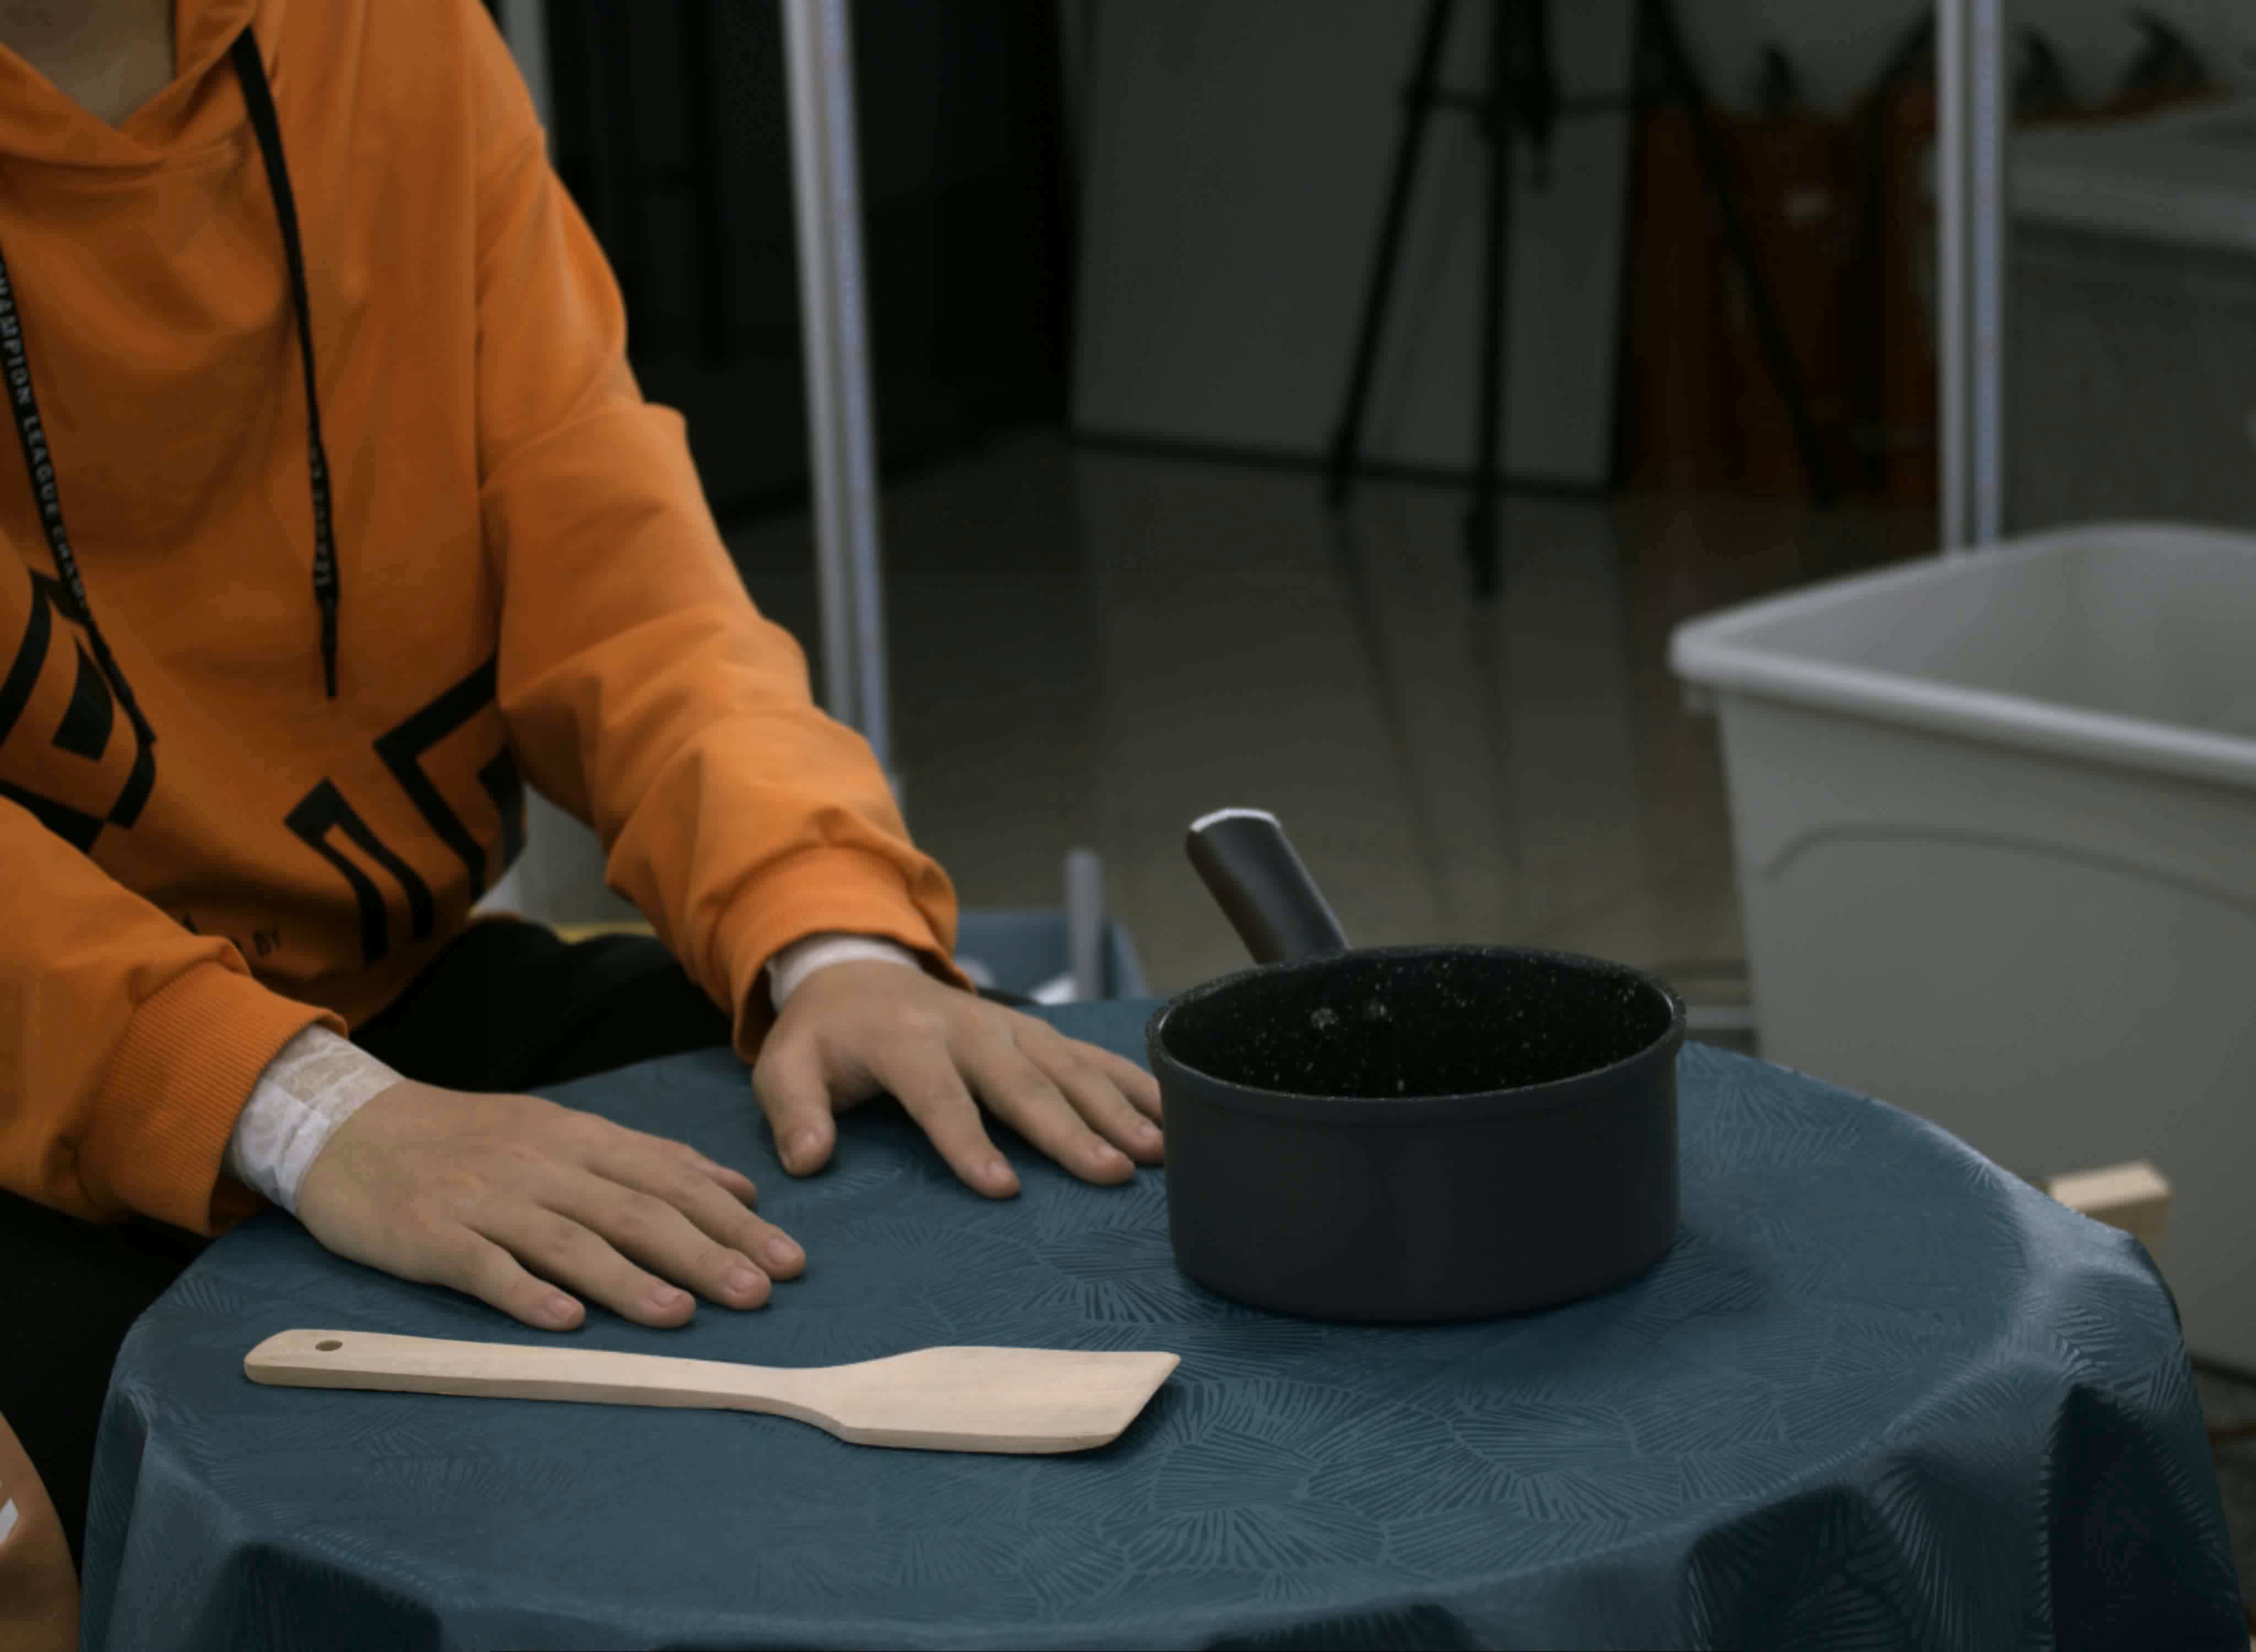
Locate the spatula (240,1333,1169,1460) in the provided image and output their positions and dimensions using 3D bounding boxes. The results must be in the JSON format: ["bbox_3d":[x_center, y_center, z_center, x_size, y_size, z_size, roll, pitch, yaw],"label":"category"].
[{"bbox_3d":[-0.132,0.166,1.608,0.292,0.011,0.071,1,18,20],"label":"spatula"}]

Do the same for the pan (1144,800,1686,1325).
[{"bbox_3d":[0.077,0.073,1.764,0.169,0.087,0.330,-6,15,-9],"label":"pan"}]
